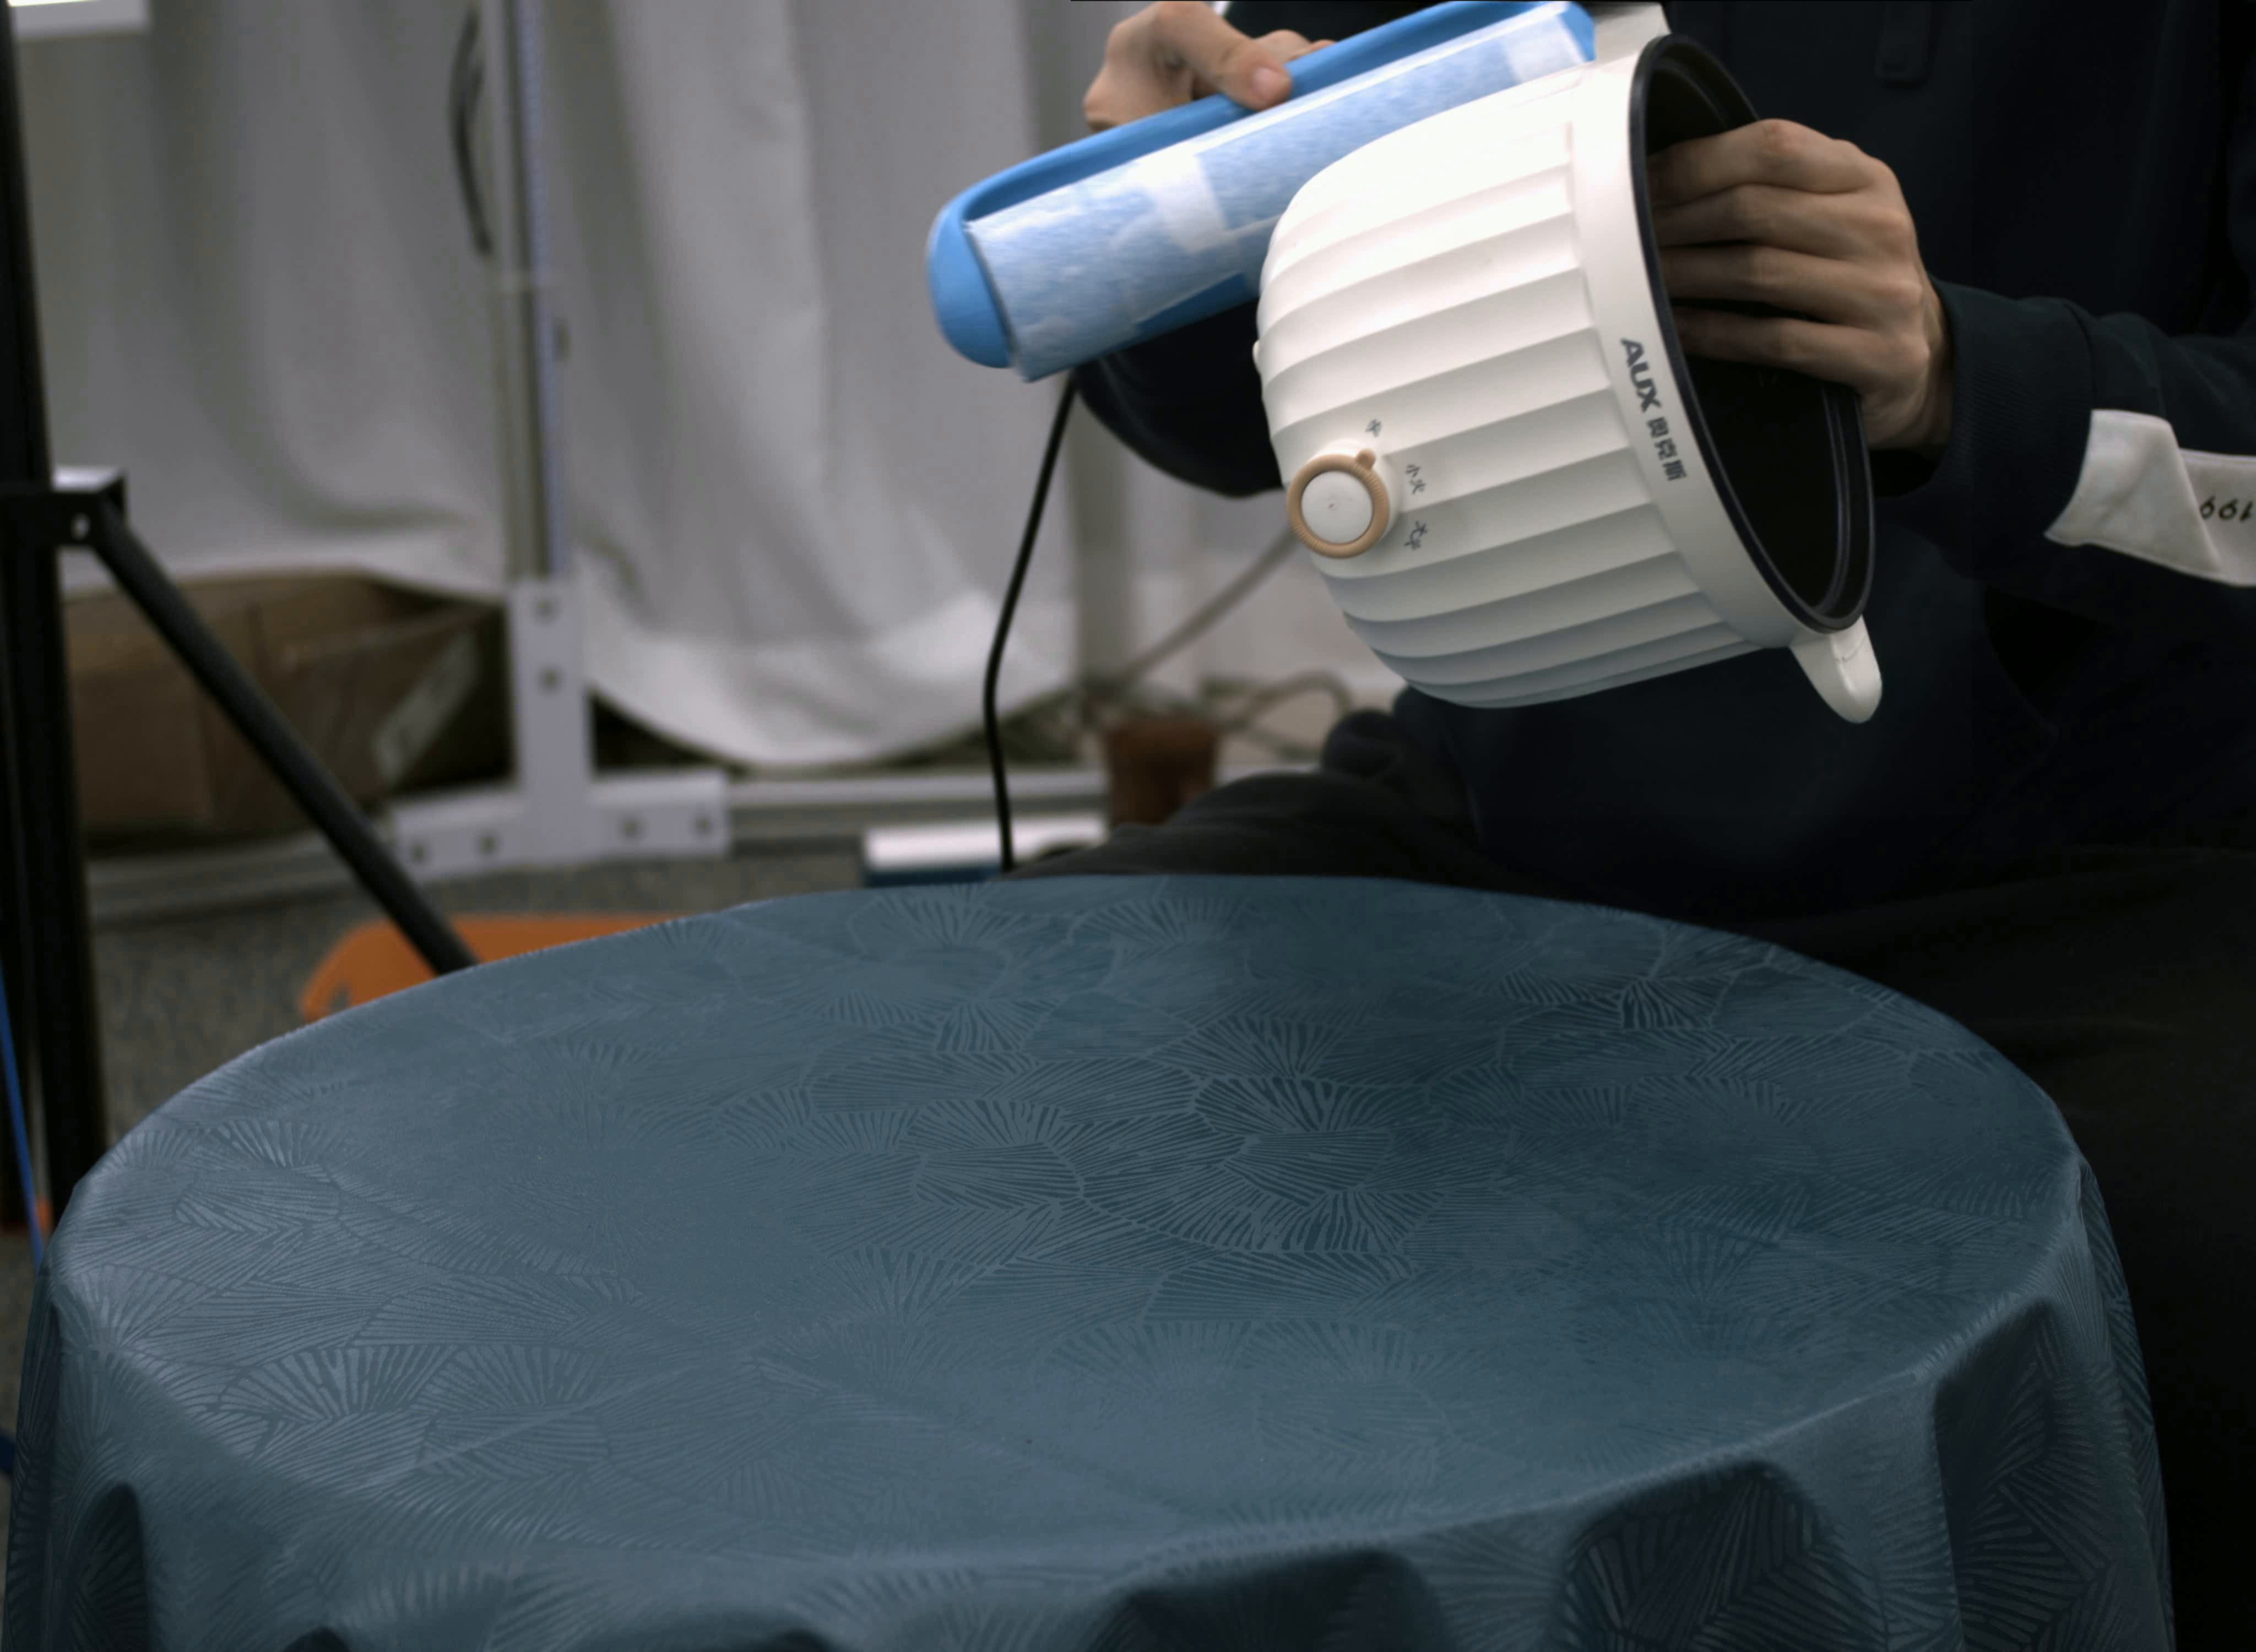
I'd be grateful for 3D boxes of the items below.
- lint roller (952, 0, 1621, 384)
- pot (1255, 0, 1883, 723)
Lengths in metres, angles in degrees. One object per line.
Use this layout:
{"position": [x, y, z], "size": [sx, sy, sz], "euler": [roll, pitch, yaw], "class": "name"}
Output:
{"position": [0.042, -0.203, 1.702], "size": [0.227, 0.068, 0.182], "euler": [-24, 10, -7], "class": "lint roller"}
{"position": [0.124, -0.123, 1.563], "size": [0.144, 0.240, 0.189], "euler": [-18, 10, 21], "class": "pot"}
